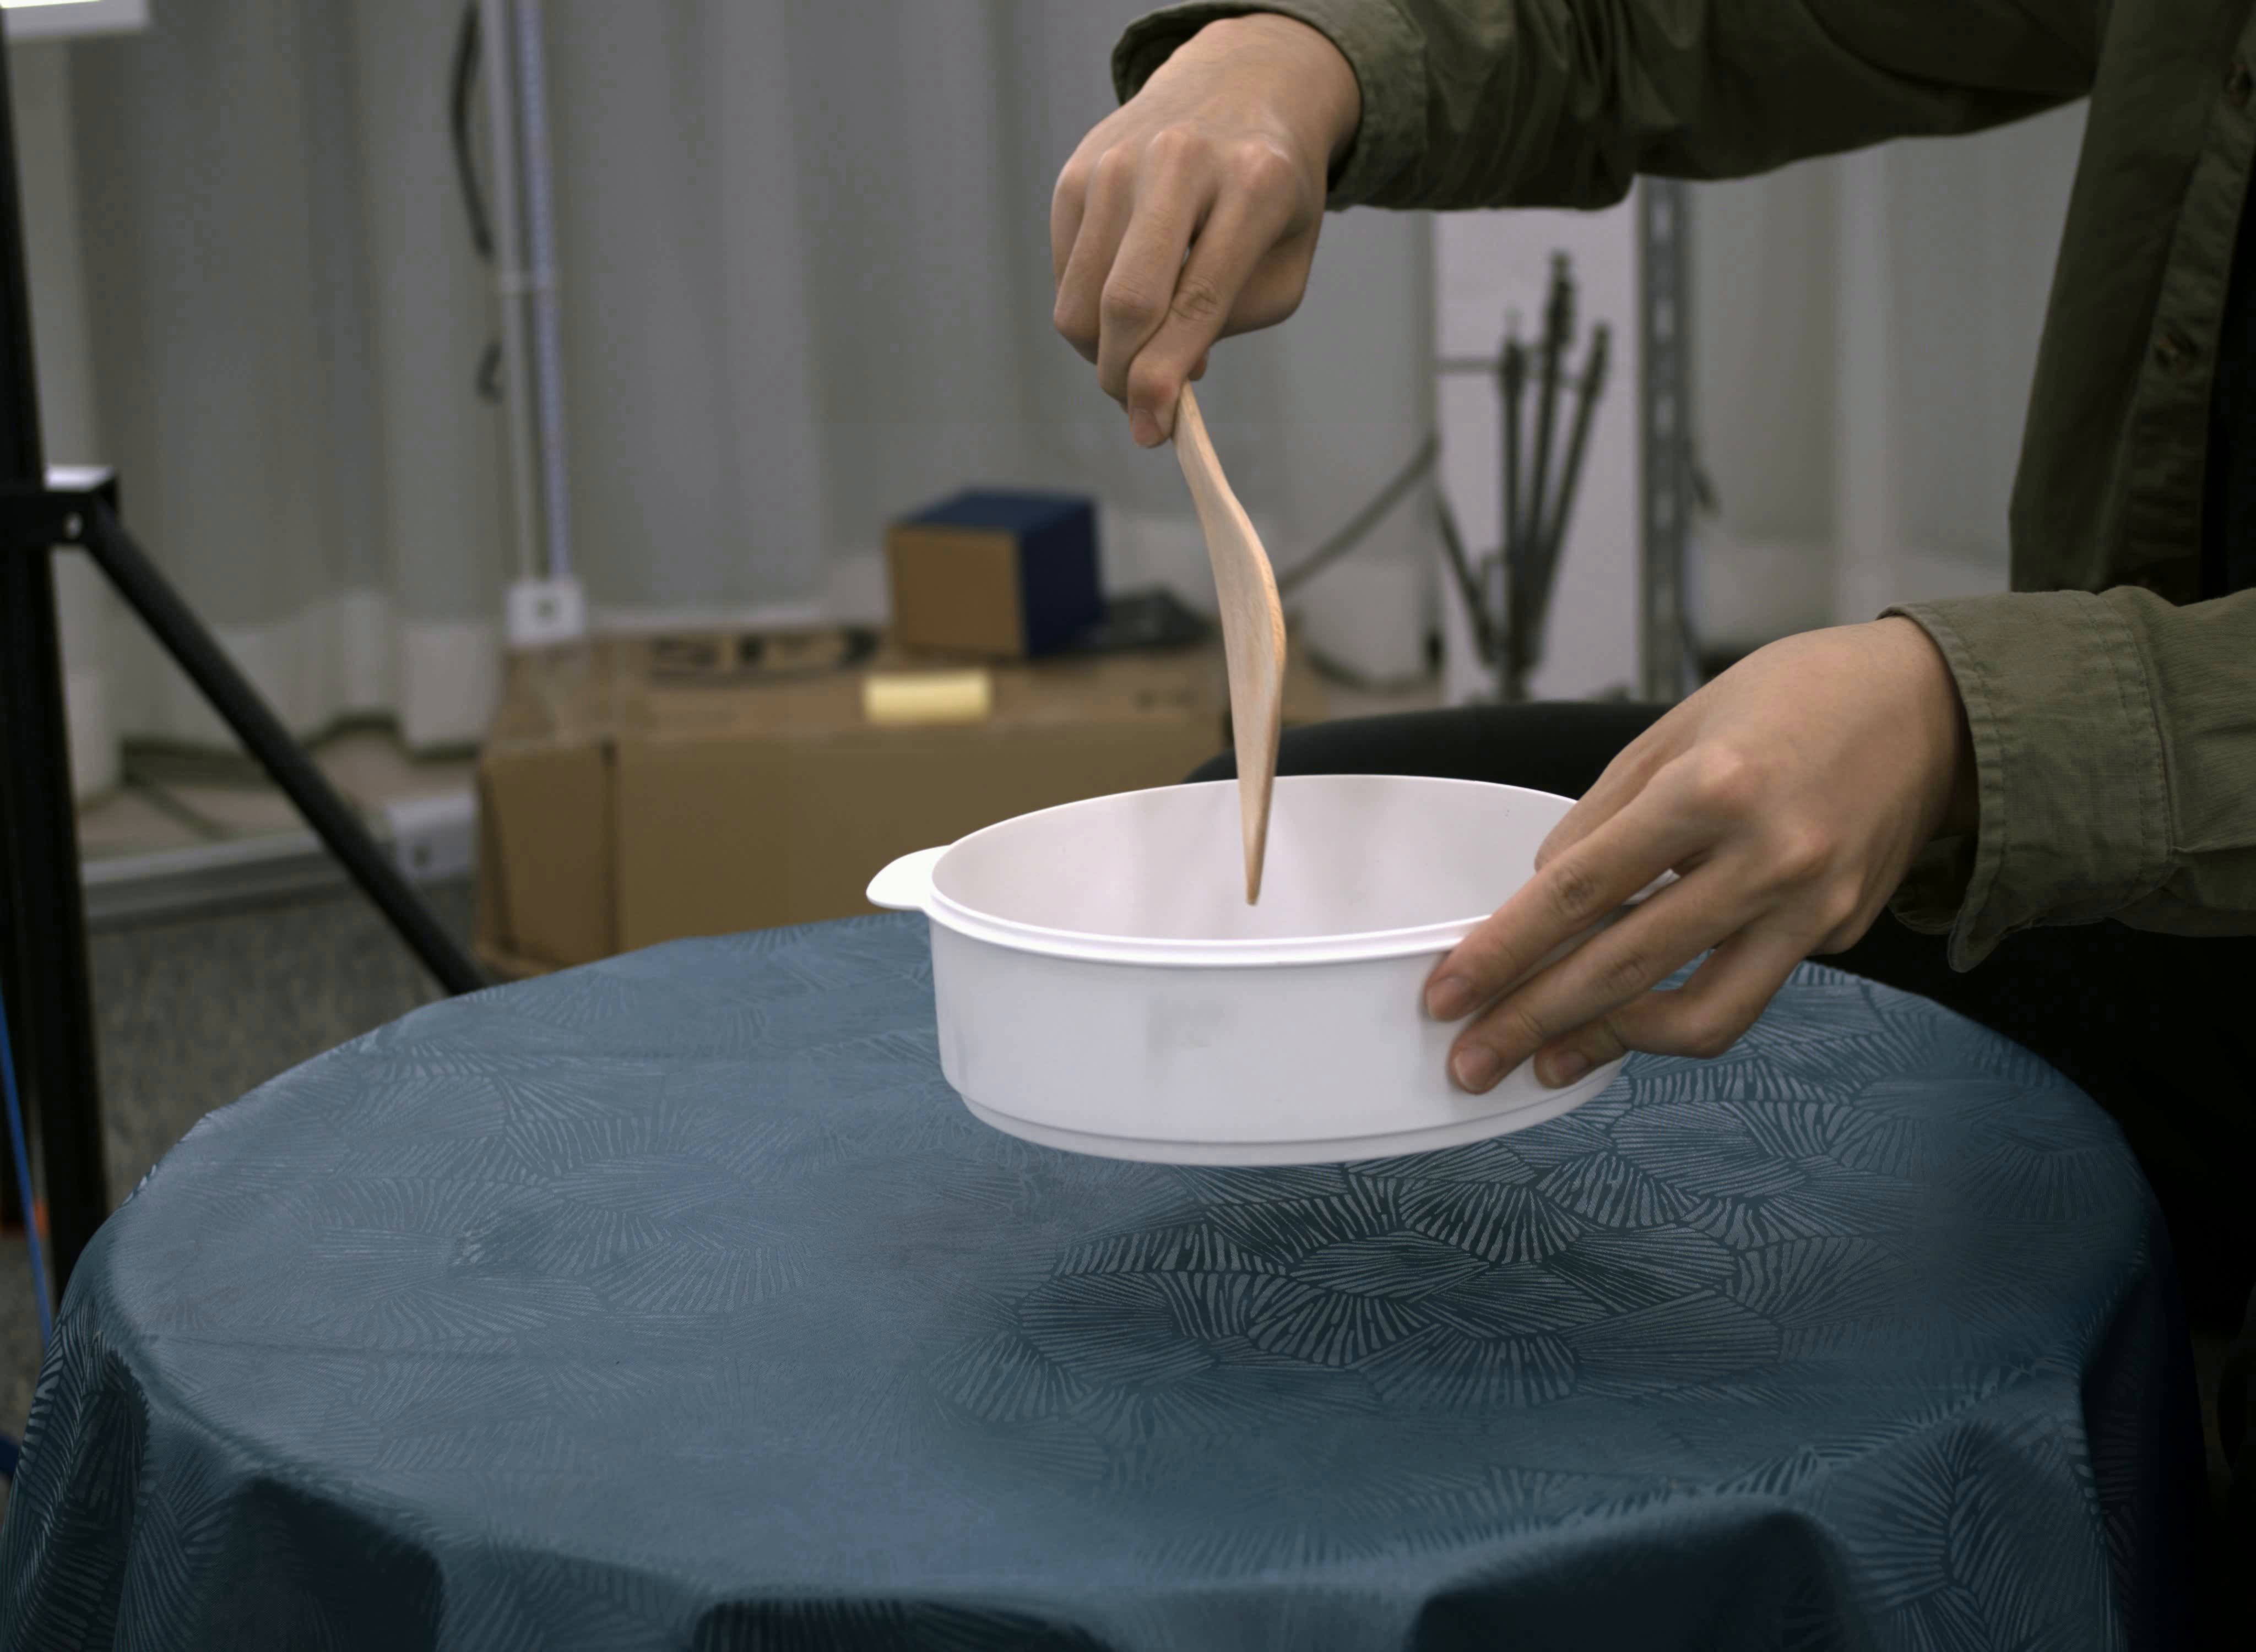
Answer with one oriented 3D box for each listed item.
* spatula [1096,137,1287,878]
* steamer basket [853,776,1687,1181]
[{"bbox_3d":[0.017,-0.115,1.602,0.016,0.080,0.332,-1,39,-11],"label":"spatula"},{"bbox_3d":[0.039,0.042,1.469,0.232,0.069,0.201,1,14,12],"label":"steamer basket"}]
